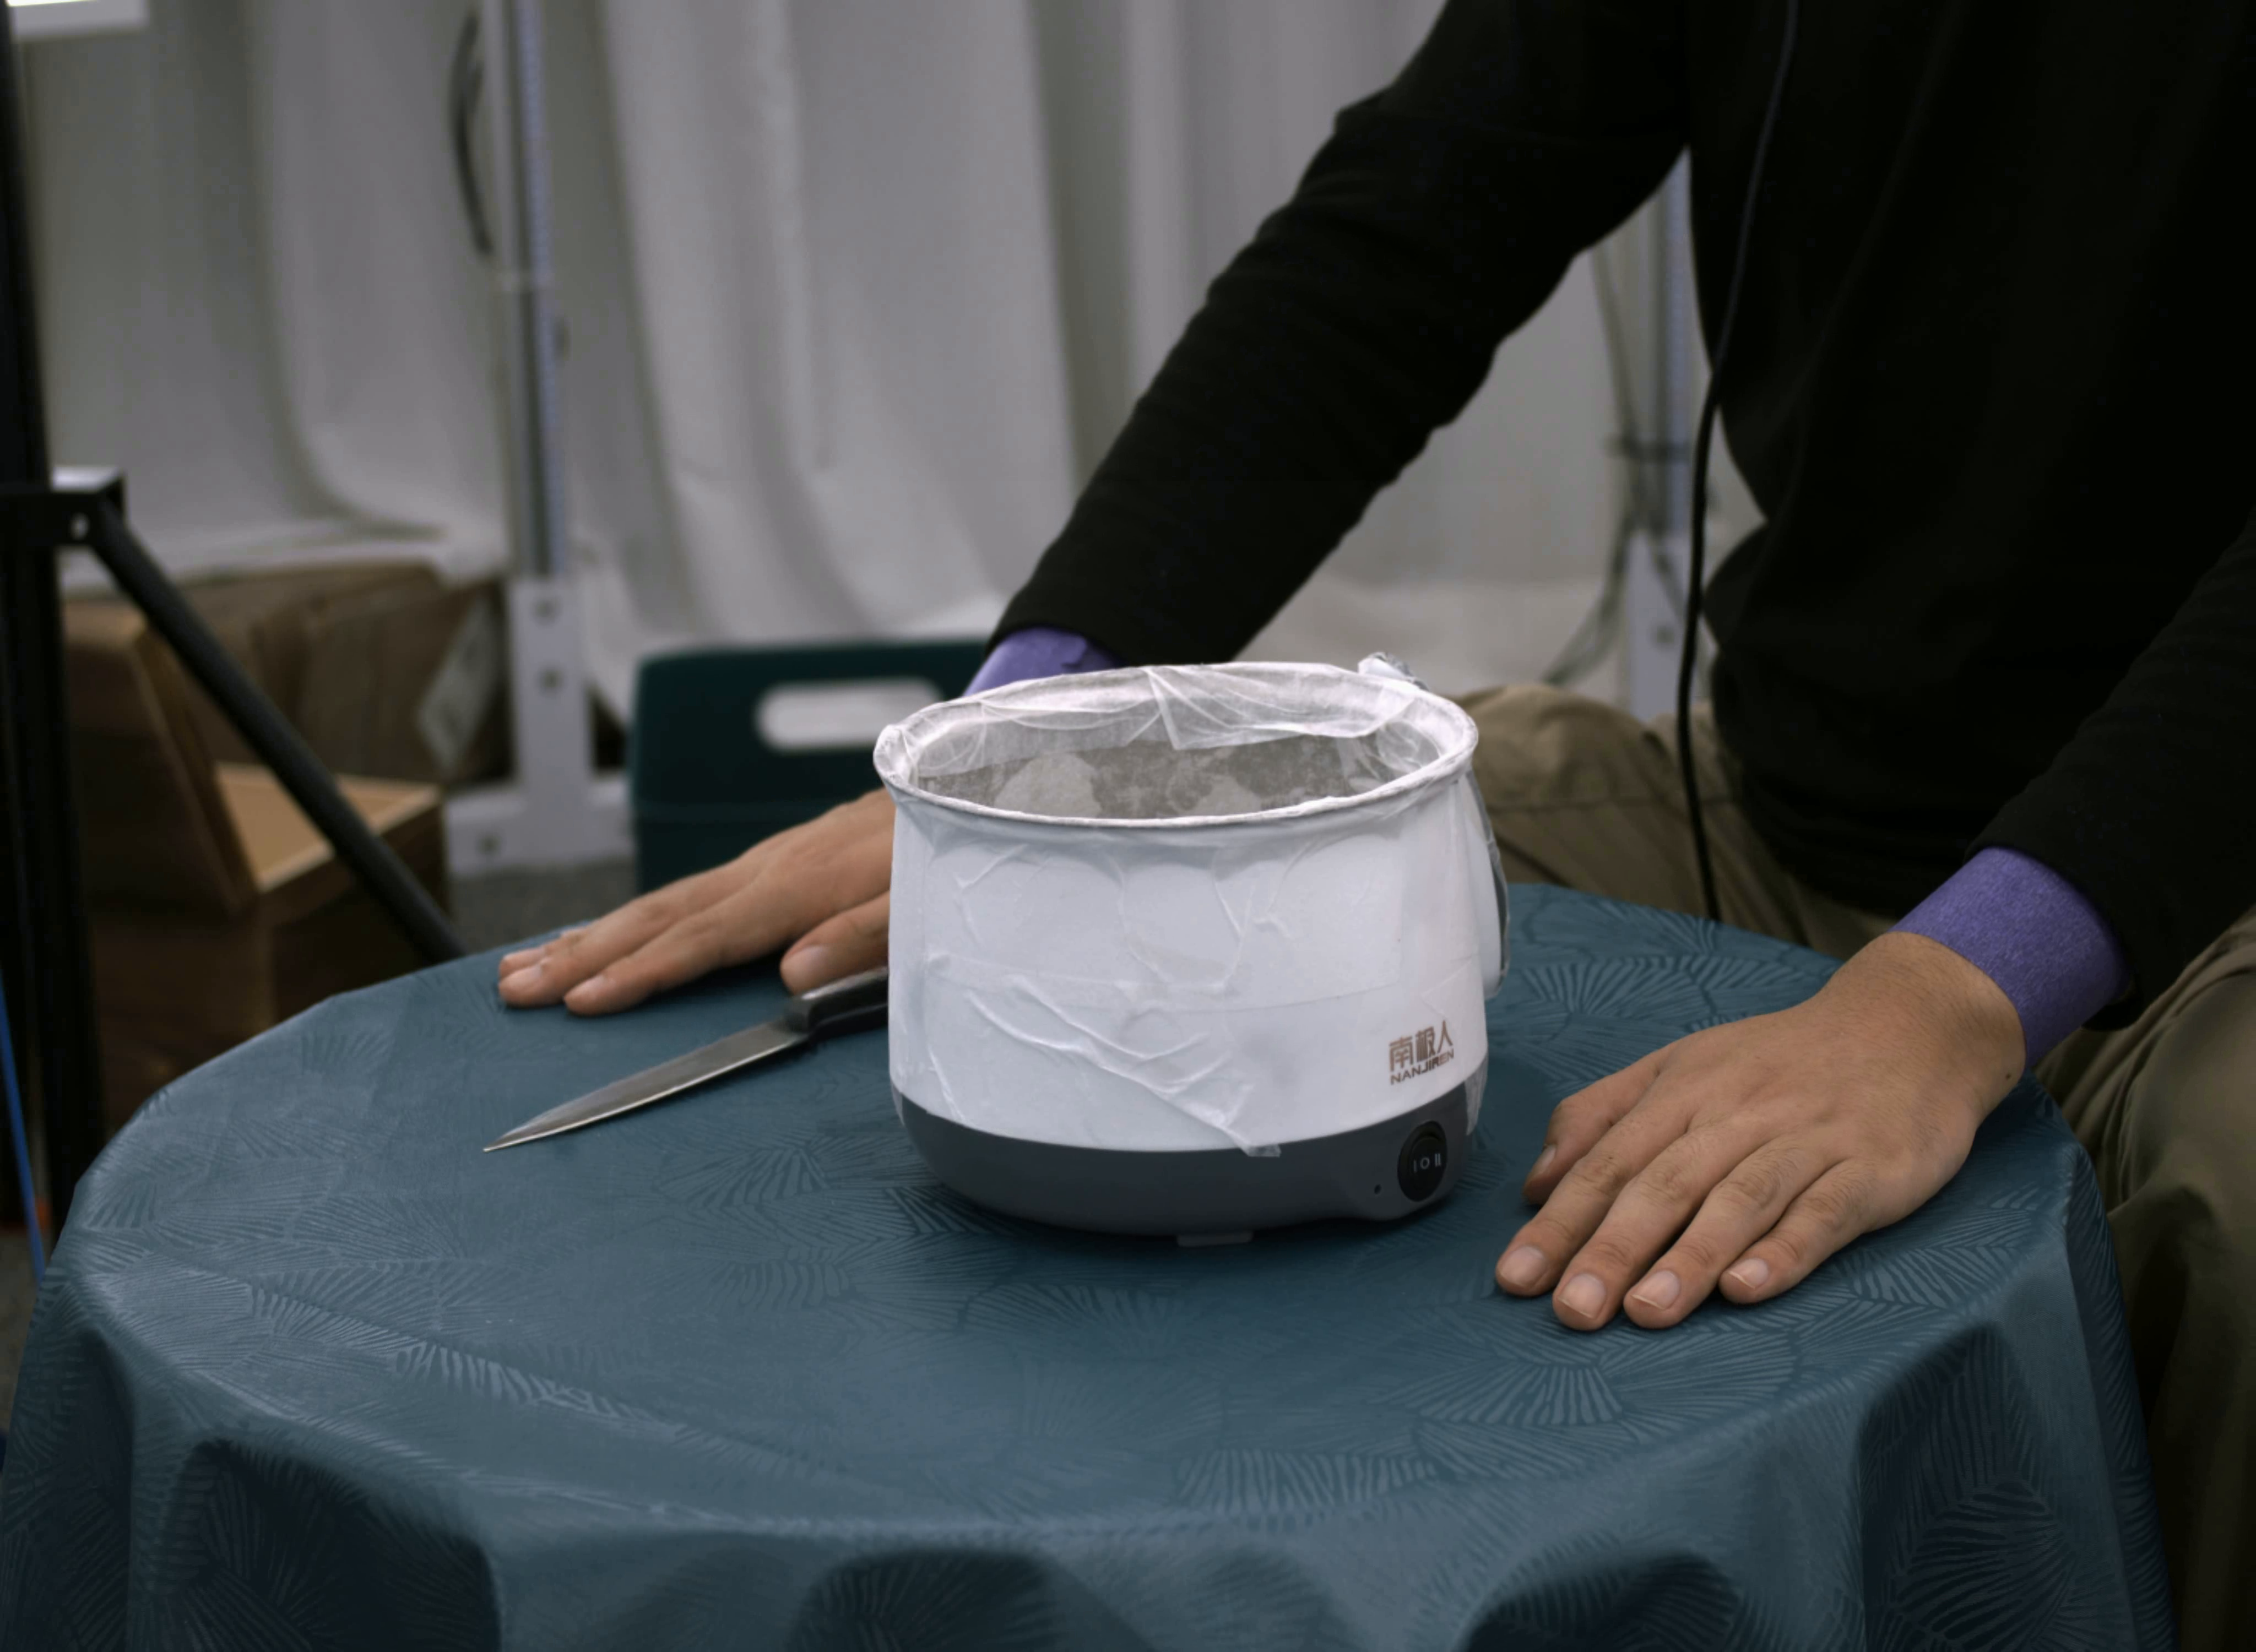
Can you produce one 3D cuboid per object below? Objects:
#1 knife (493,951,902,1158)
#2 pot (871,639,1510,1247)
[{"bbox_3d":[-0.114,0.068,1.697,0.025,0.016,0.233,16,27,41],"label":"knife"},{"bbox_3d":[0.033,0.027,1.576,0.182,0.136,0.229,11,22,38],"label":"pot"}]
